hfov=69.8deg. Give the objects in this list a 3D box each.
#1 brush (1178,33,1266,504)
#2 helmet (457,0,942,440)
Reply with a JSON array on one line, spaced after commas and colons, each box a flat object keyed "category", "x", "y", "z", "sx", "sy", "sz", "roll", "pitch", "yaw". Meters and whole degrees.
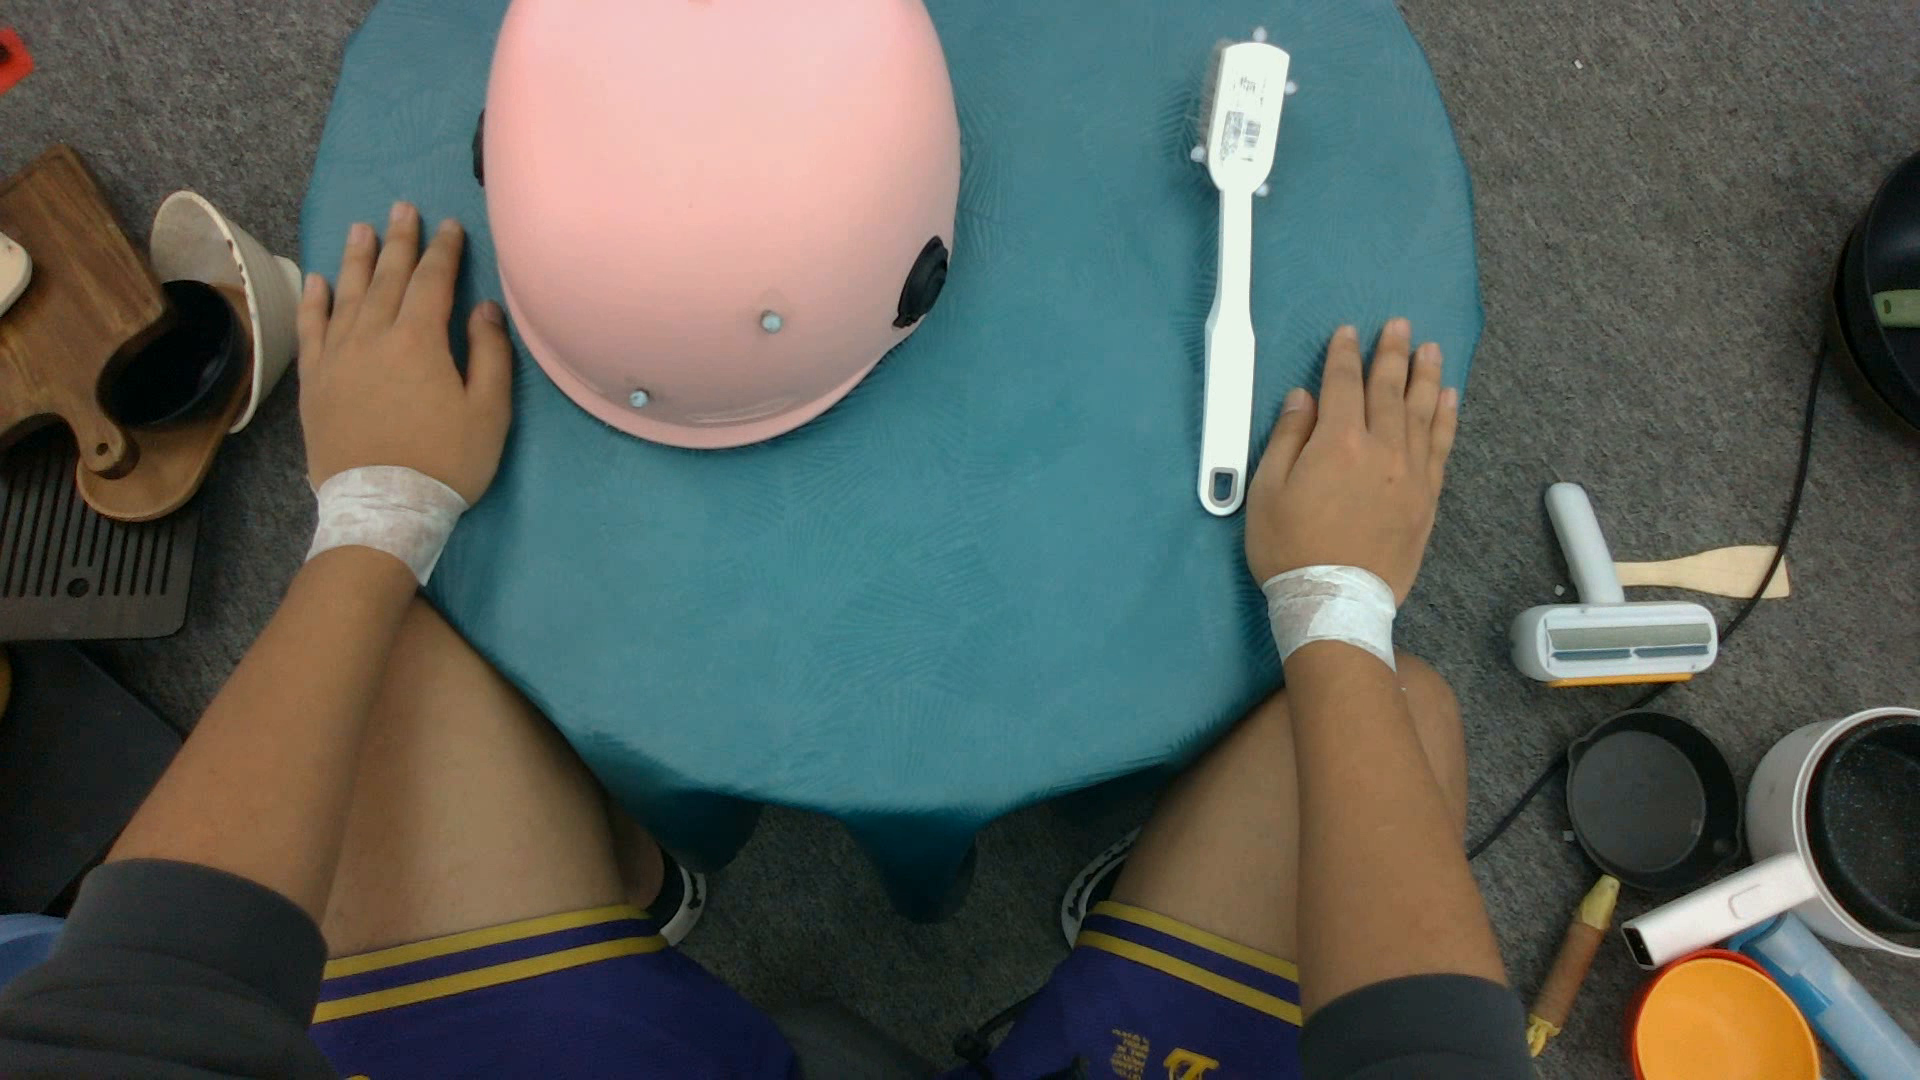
[{"category": "brush", "x": 0.129, "y": -0.140, "z": 0.706, "sx": 0.034, "sy": 0.050, "sz": 0.243, "roll": 3, "pitch": 90, "yaw": -7}, {"category": "helmet", "x": -0.119, "y": -0.188, "z": 0.630, "sx": 0.234, "sy": 0.158, "sz": 0.266, "roll": 16, "pitch": 81, "yaw": -2}]
